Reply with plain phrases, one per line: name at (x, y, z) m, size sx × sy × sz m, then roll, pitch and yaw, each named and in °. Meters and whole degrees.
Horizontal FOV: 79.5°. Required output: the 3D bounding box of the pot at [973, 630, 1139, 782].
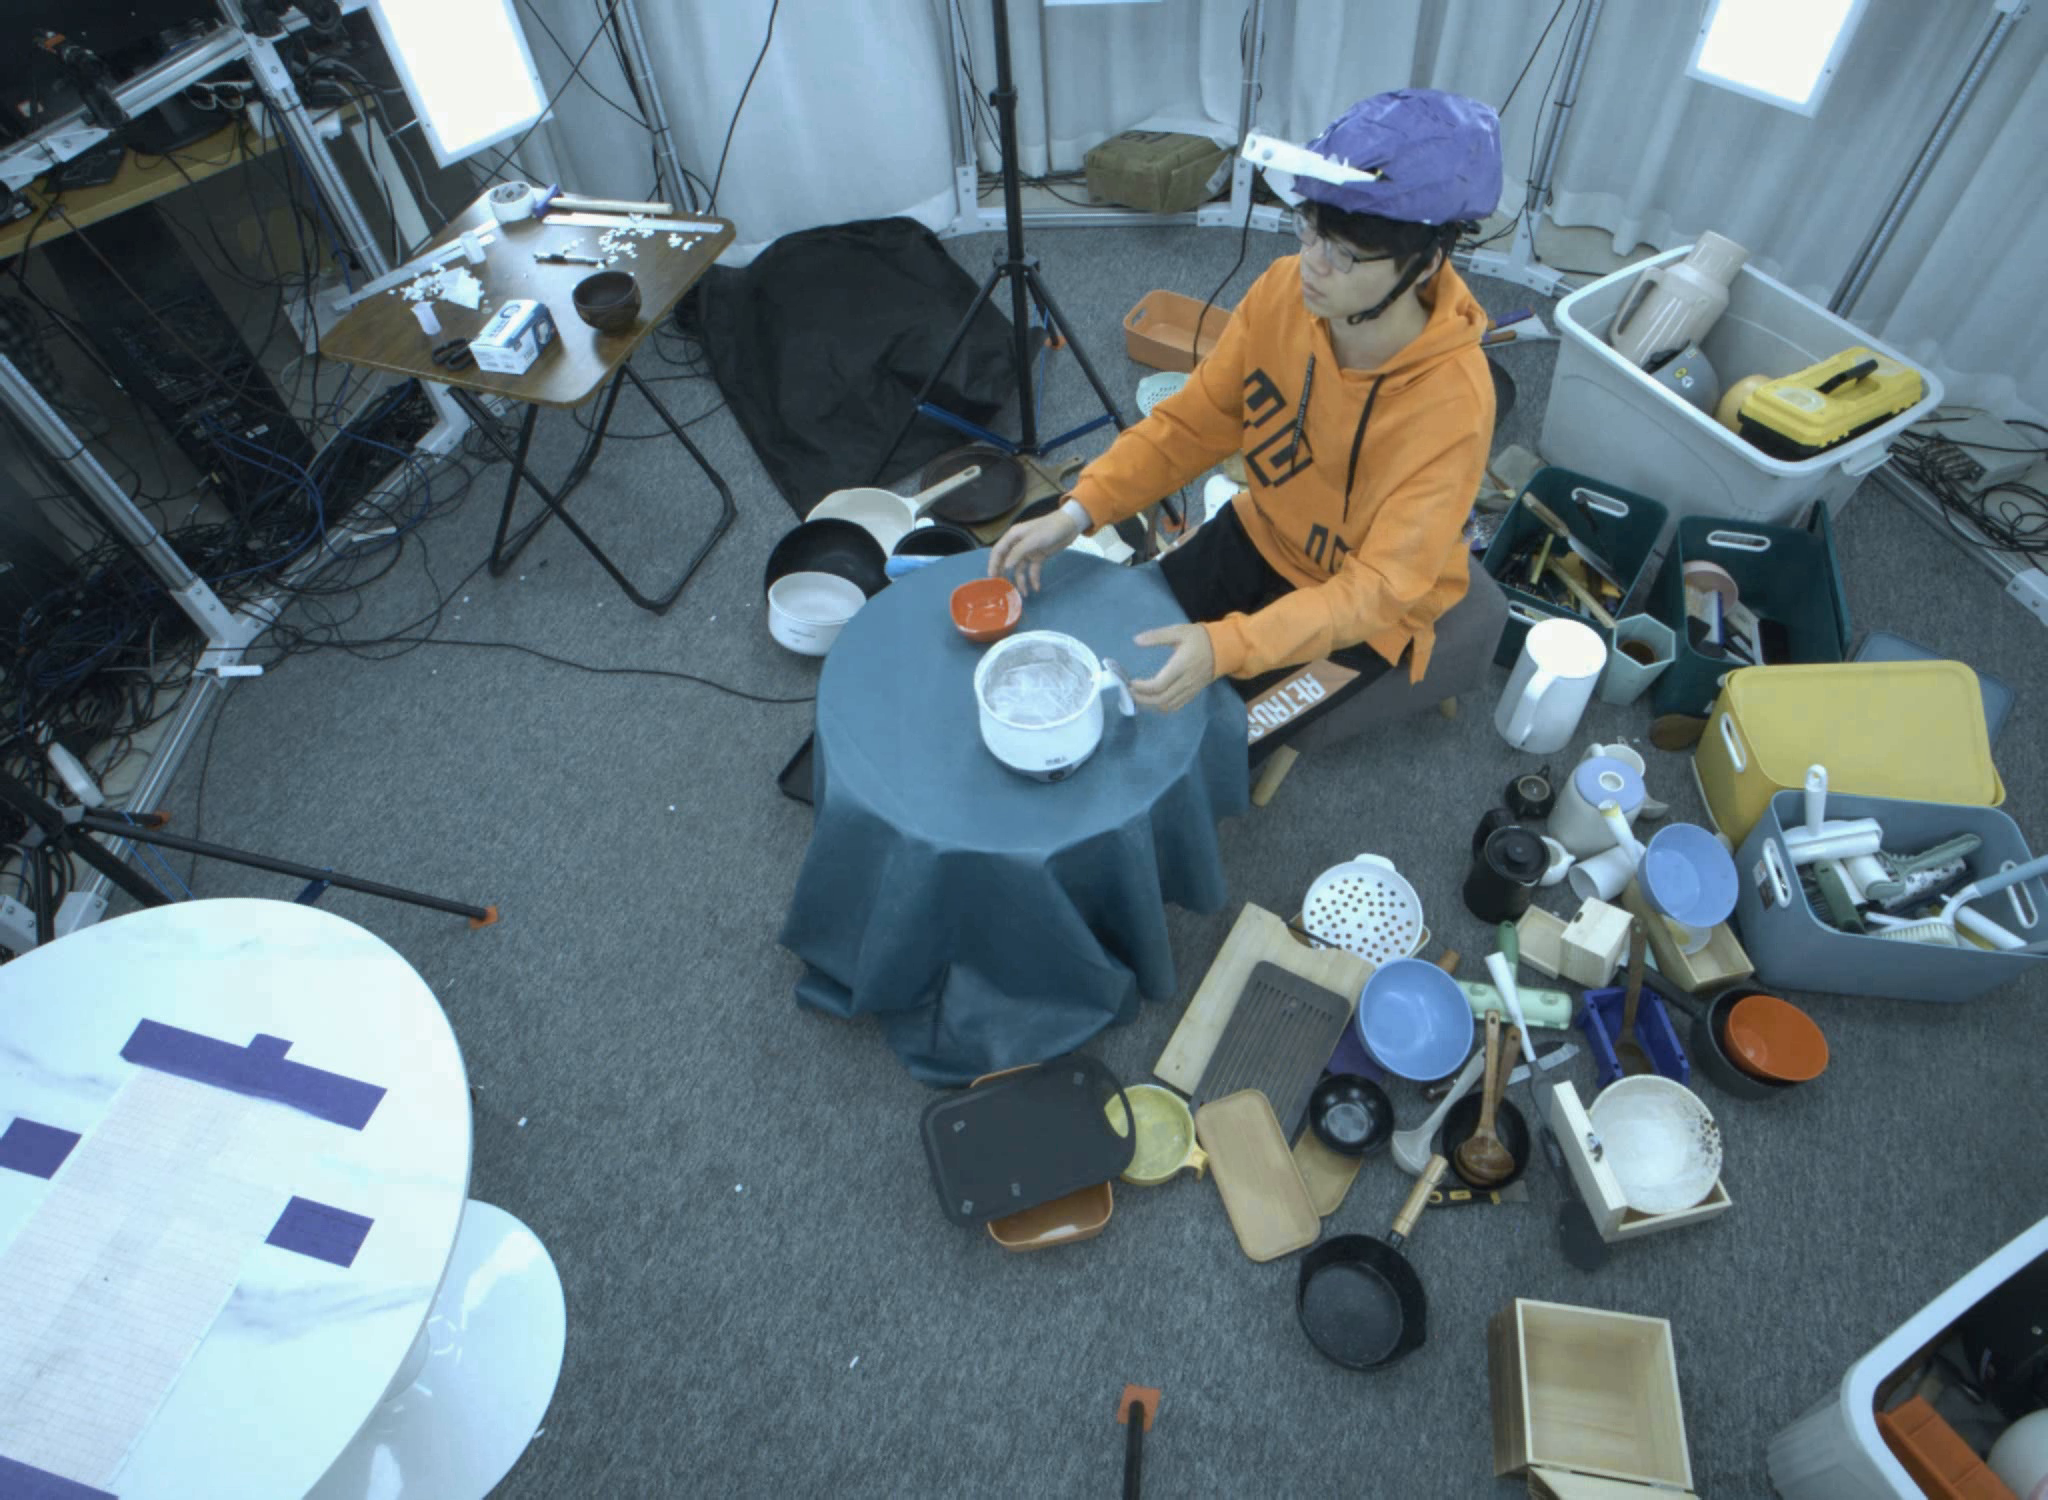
pot at (0.049, -0.068, 1.749) m, size 0.235 × 0.138 × 0.176 m, roll -14°, pitch 56°, yaw -7°

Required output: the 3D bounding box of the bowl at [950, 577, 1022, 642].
bowl at (-0.057, -0.211, 1.907) m, size 0.119 × 0.052 × 0.117 m, roll -1°, pitch 54°, yaw 3°
